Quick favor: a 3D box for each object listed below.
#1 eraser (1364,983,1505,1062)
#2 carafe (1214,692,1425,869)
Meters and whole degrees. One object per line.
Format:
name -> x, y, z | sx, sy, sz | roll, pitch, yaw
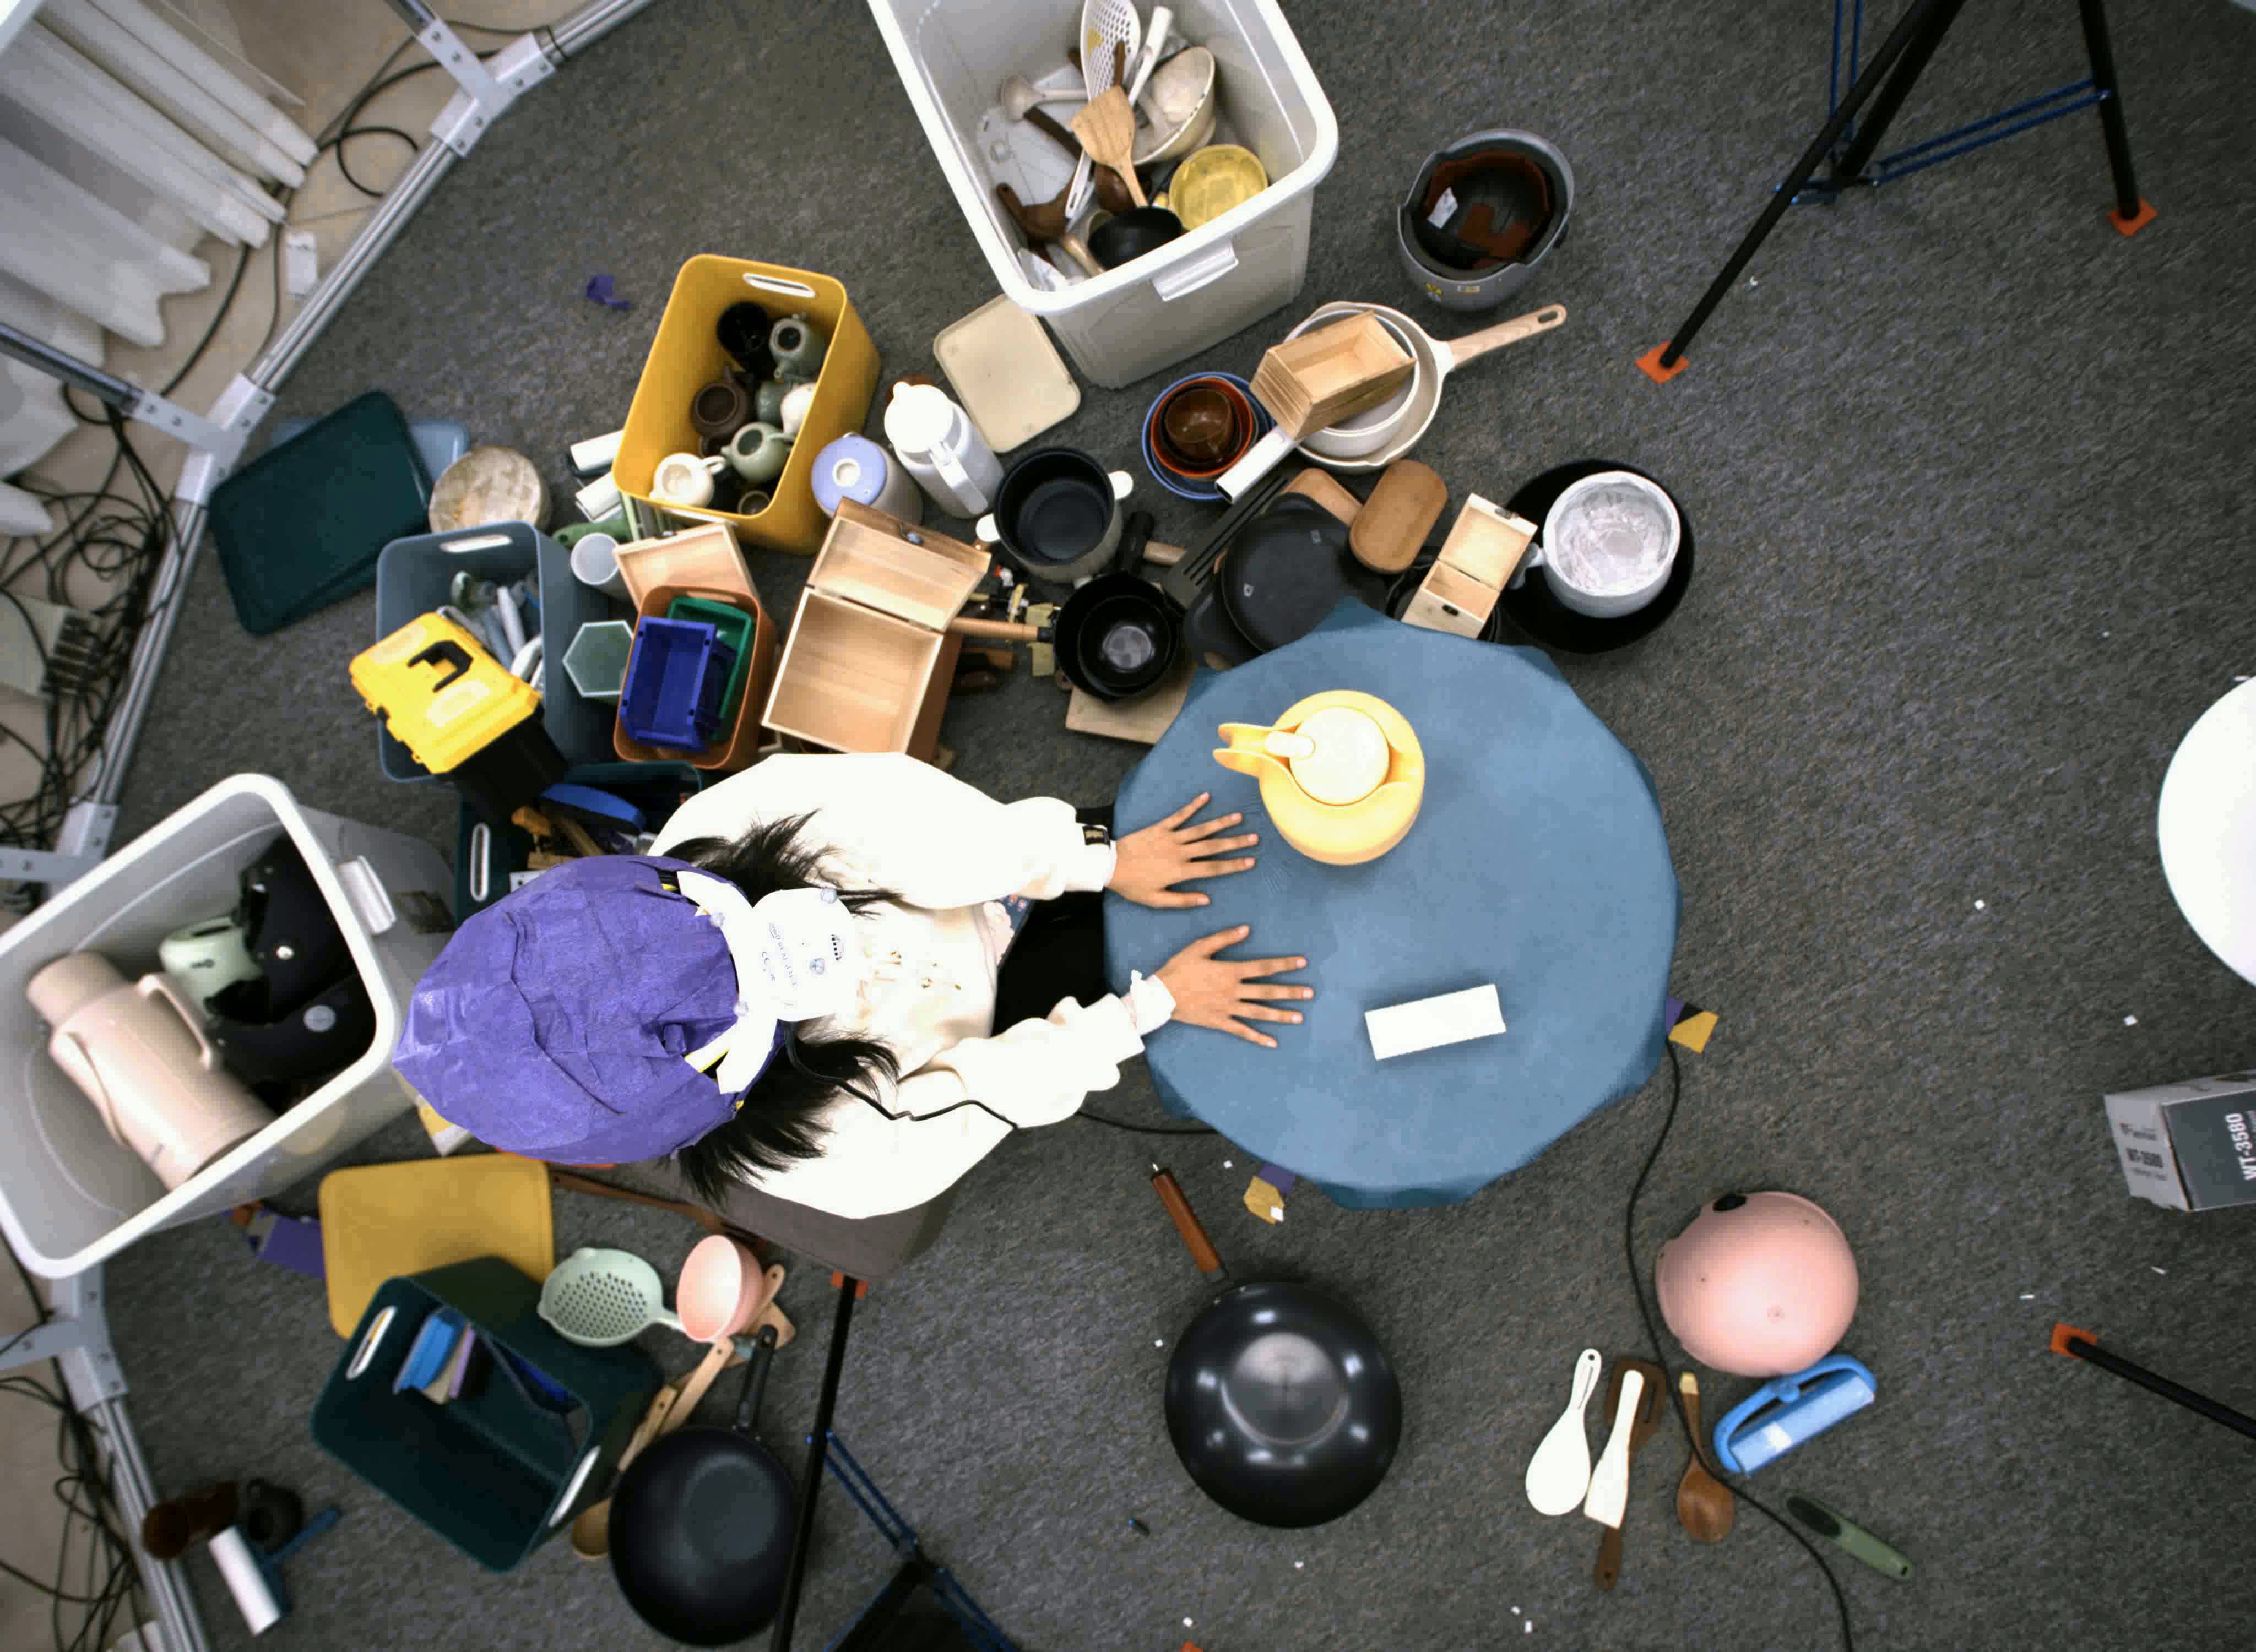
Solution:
eraser -> 0.315, 0.200, 1.421 | 0.135, 0.046, 0.049 | -16, 86, 8
carafe -> 0.189, -0.055, 1.348 | 0.202, 0.261, 0.162 | 13, 84, 9
